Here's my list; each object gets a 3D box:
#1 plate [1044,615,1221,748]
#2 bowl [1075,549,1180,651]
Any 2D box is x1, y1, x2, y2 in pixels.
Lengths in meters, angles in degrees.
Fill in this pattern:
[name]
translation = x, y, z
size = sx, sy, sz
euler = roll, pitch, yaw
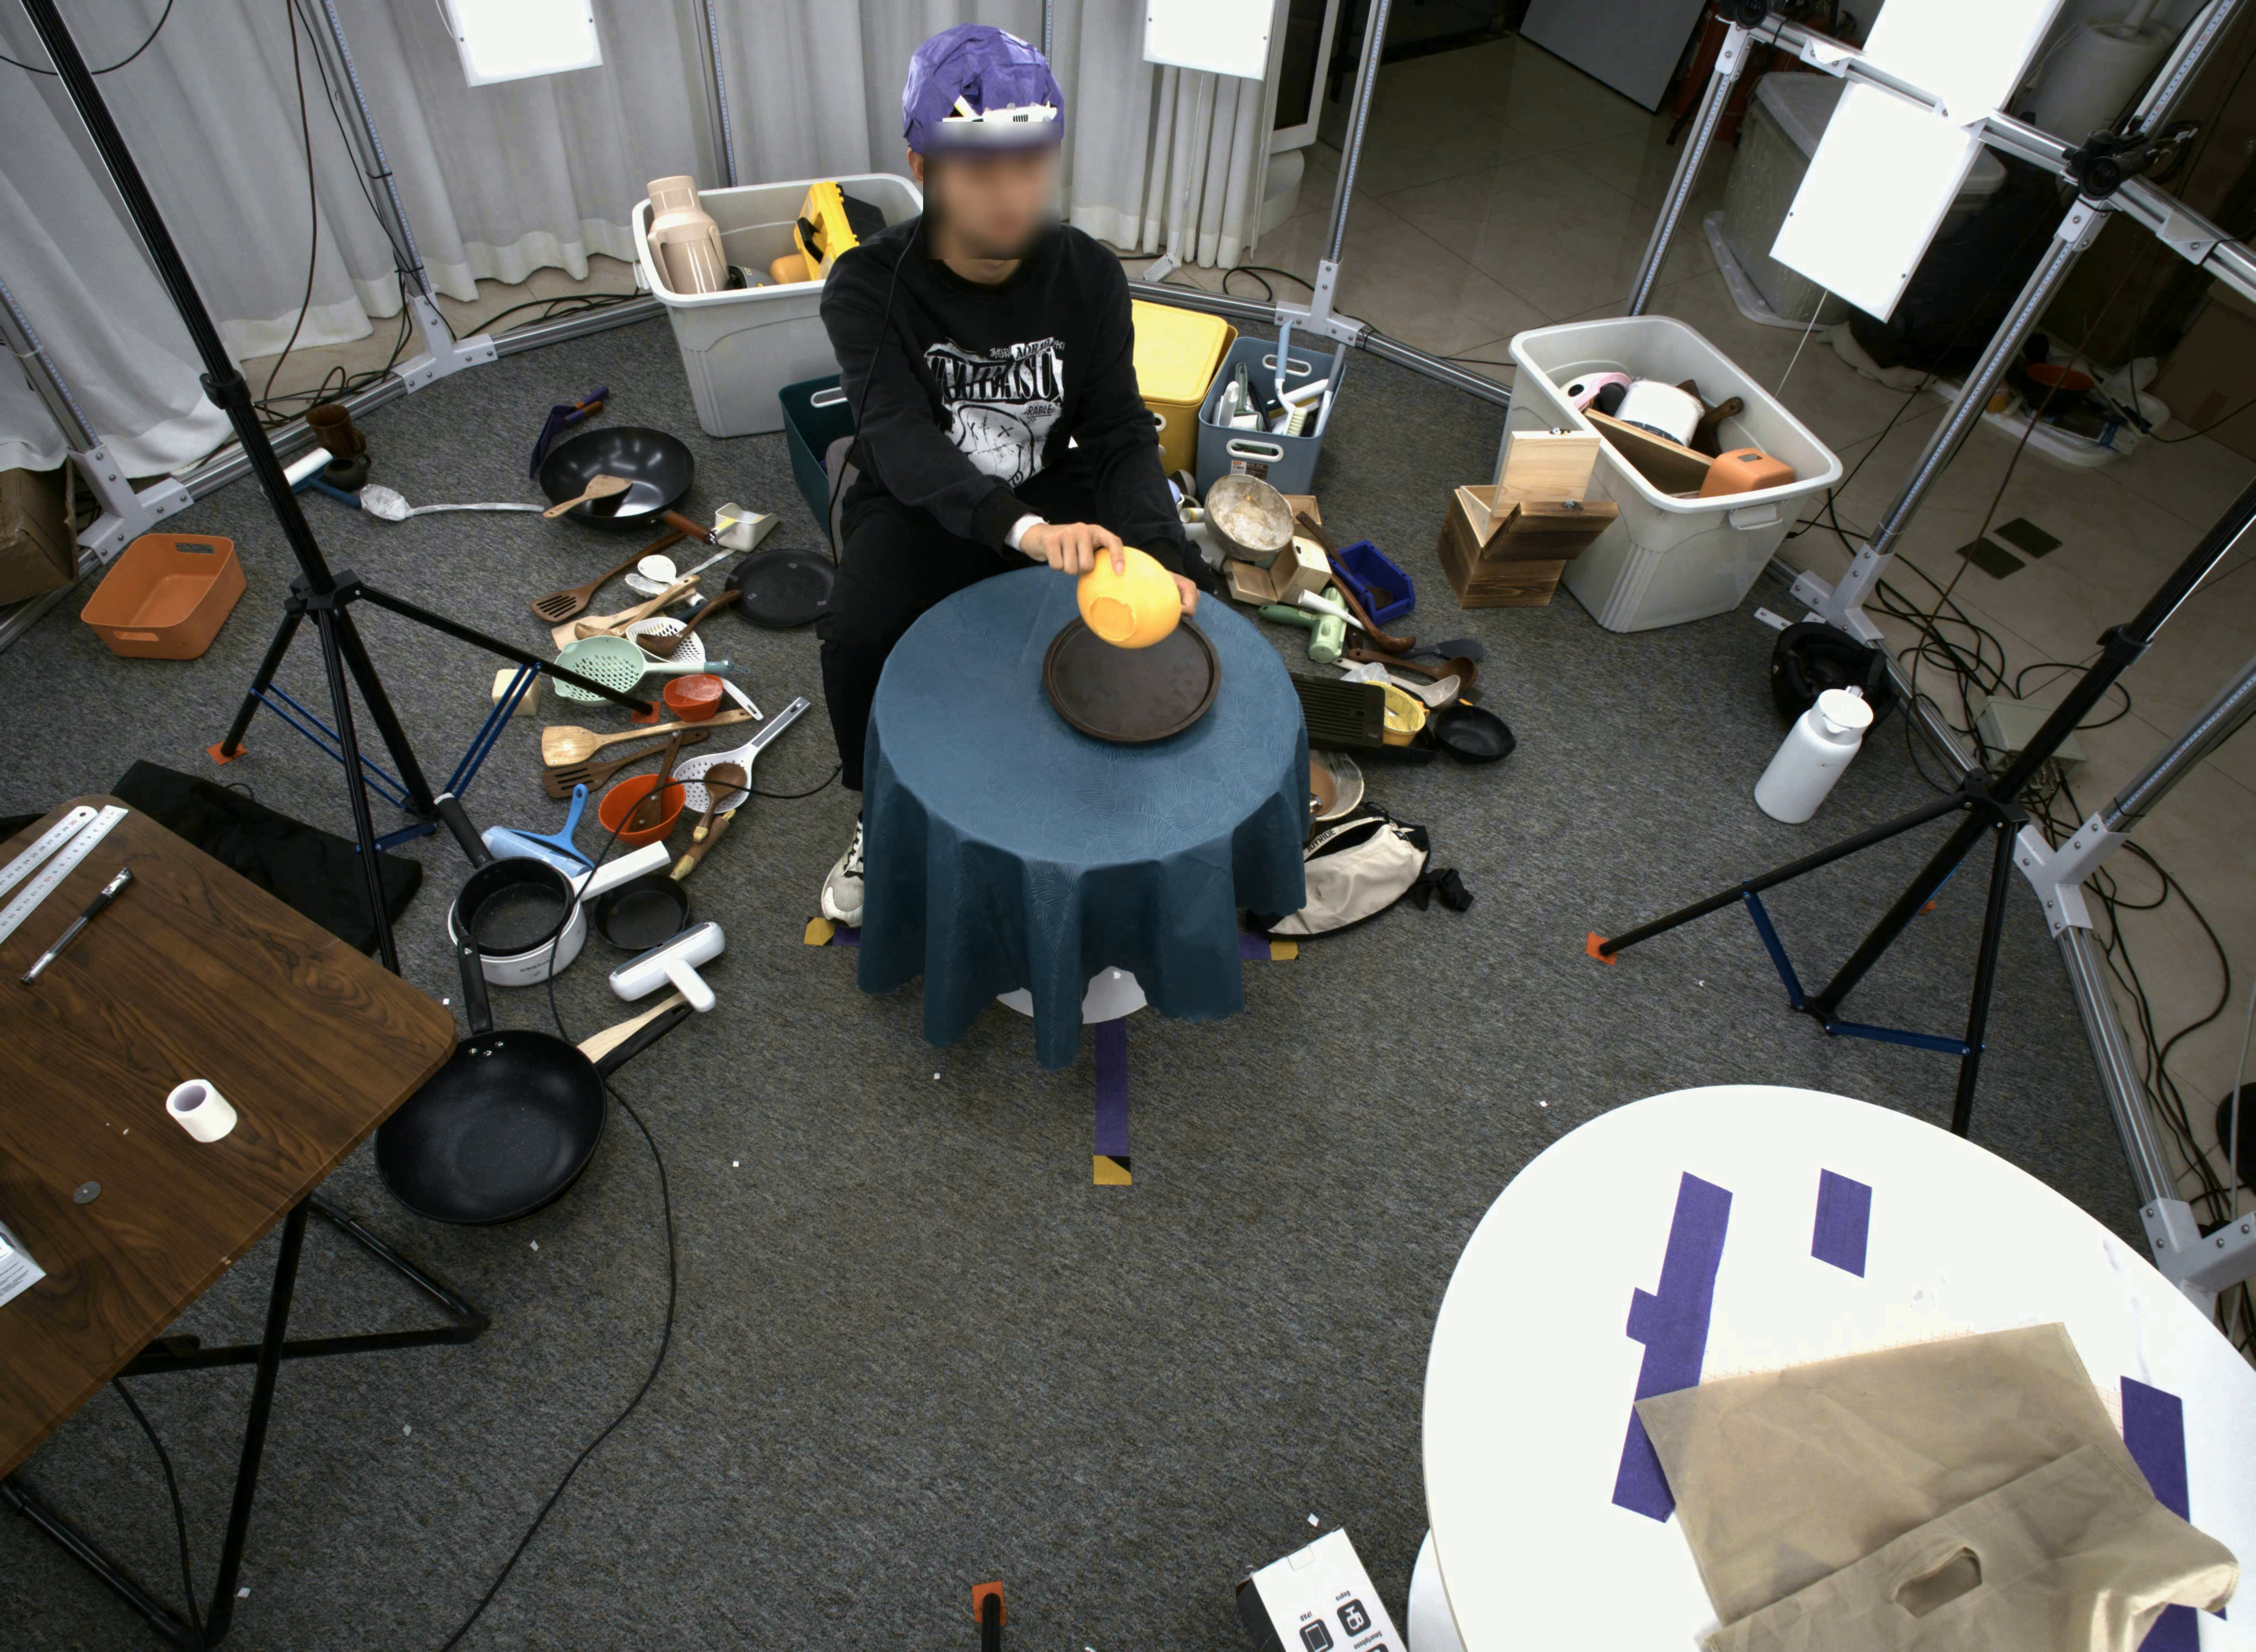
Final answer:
[plate]
translation = 0.006, -0.216, 1.839
size = 0.255, 0.028, 0.261
euler = -2, 56, 2
[bowl]
translation = -0.010, -0.278, 1.651
size = 0.146, 0.142, 0.061
euler = 20, 46, 12
